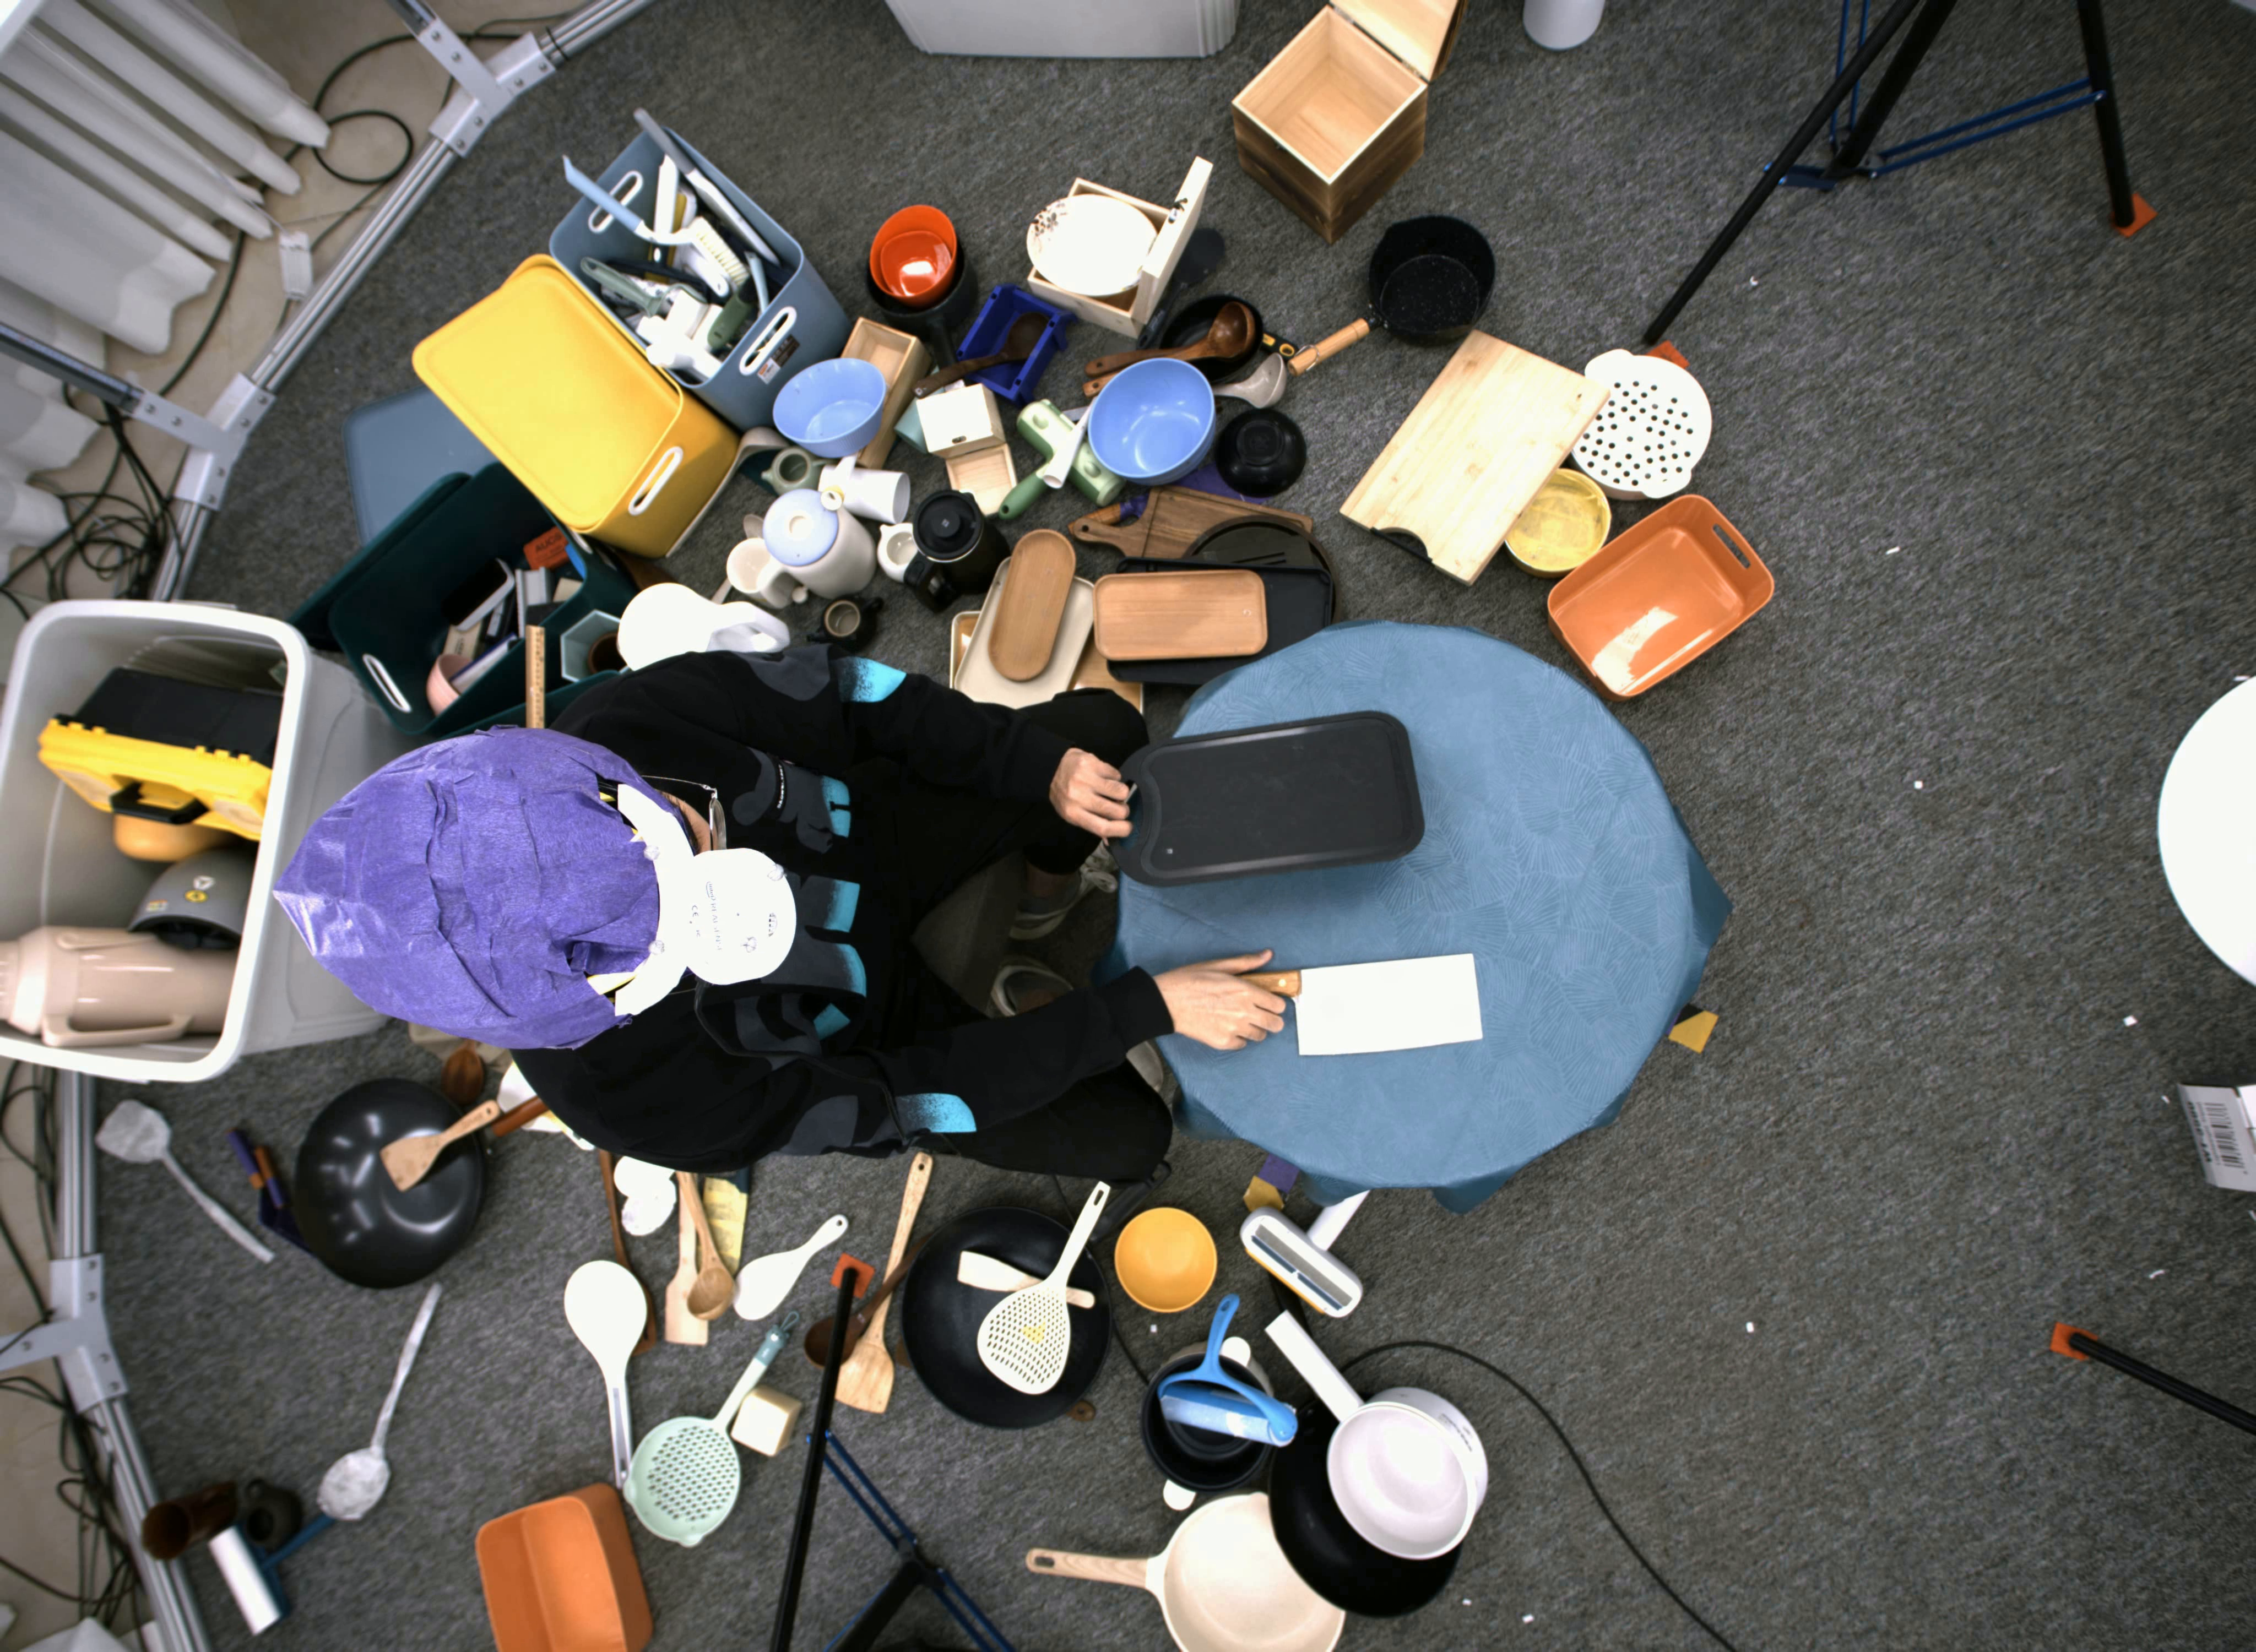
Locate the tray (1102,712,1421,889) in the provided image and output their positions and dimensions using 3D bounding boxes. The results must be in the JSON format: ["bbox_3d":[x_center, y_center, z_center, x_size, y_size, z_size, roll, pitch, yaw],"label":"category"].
[{"bbox_3d":[0.132,-0.029,1.429,0.327,0.010,0.205,-7,51,10],"label":"tray"}]

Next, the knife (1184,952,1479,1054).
[{"bbox_3d":[0.213,0.190,1.456,0.307,0.021,0.092,-6,87,8],"label":"knife"}]
